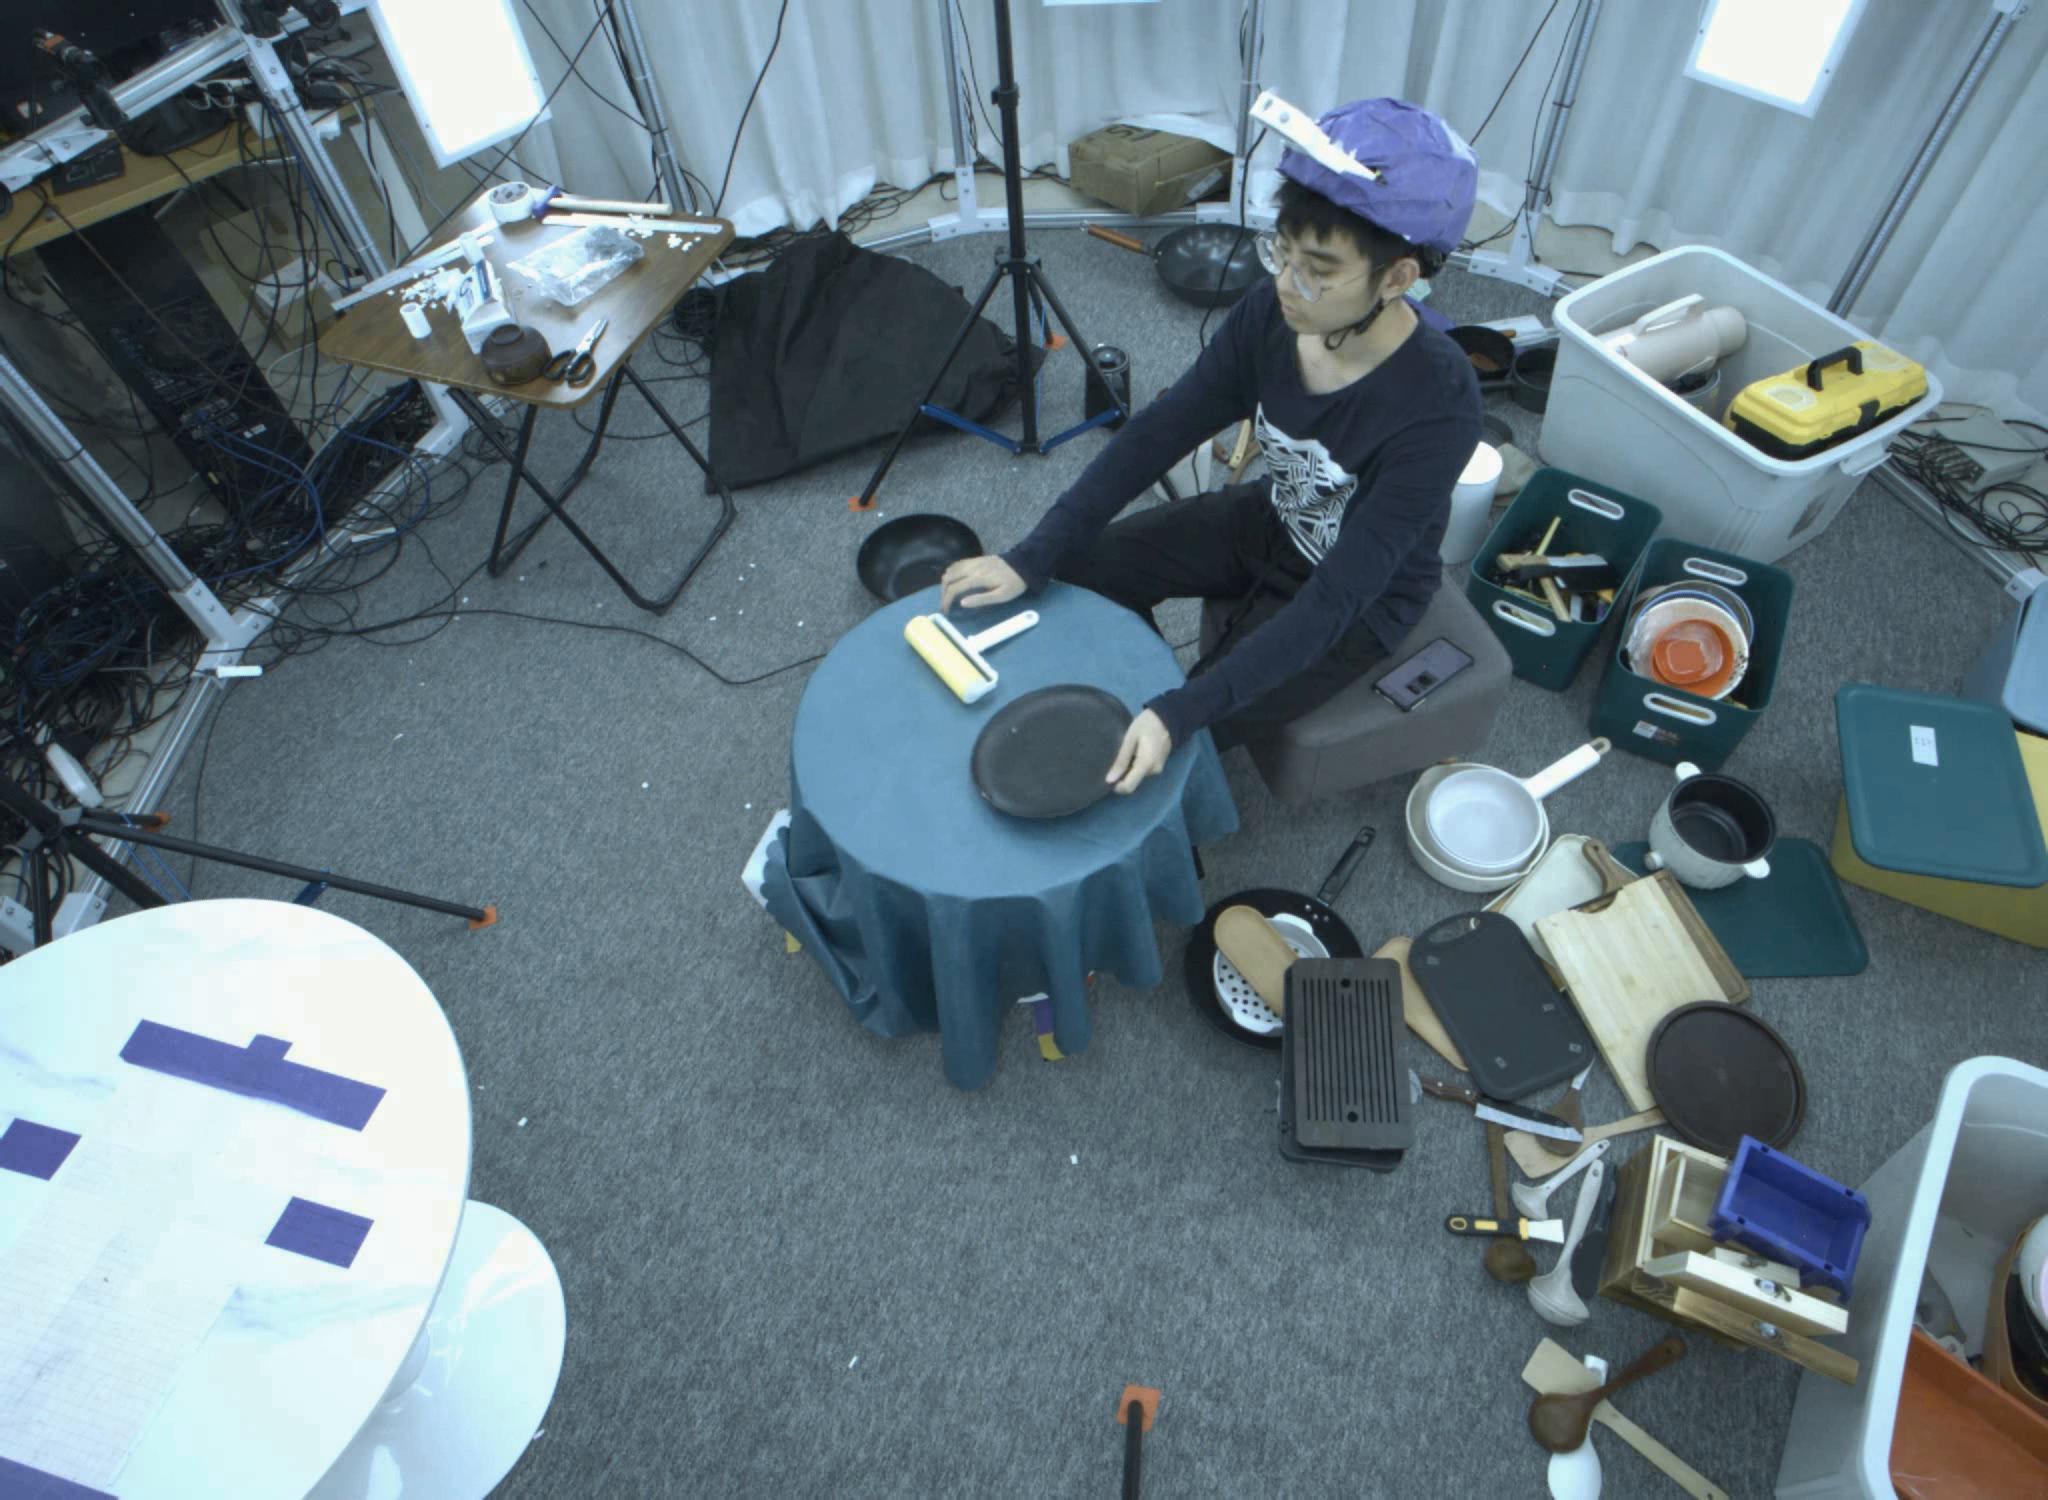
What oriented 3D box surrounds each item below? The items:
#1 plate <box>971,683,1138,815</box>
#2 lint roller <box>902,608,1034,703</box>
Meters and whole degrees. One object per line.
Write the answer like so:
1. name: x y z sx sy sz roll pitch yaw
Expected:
1. plate: 0.043 0.001 1.755 0.243 0.024 0.242 -8 49 11
2. lint roller: -0.065 -0.177 1.893 0.193 0.052 0.171 -35 61 -18
